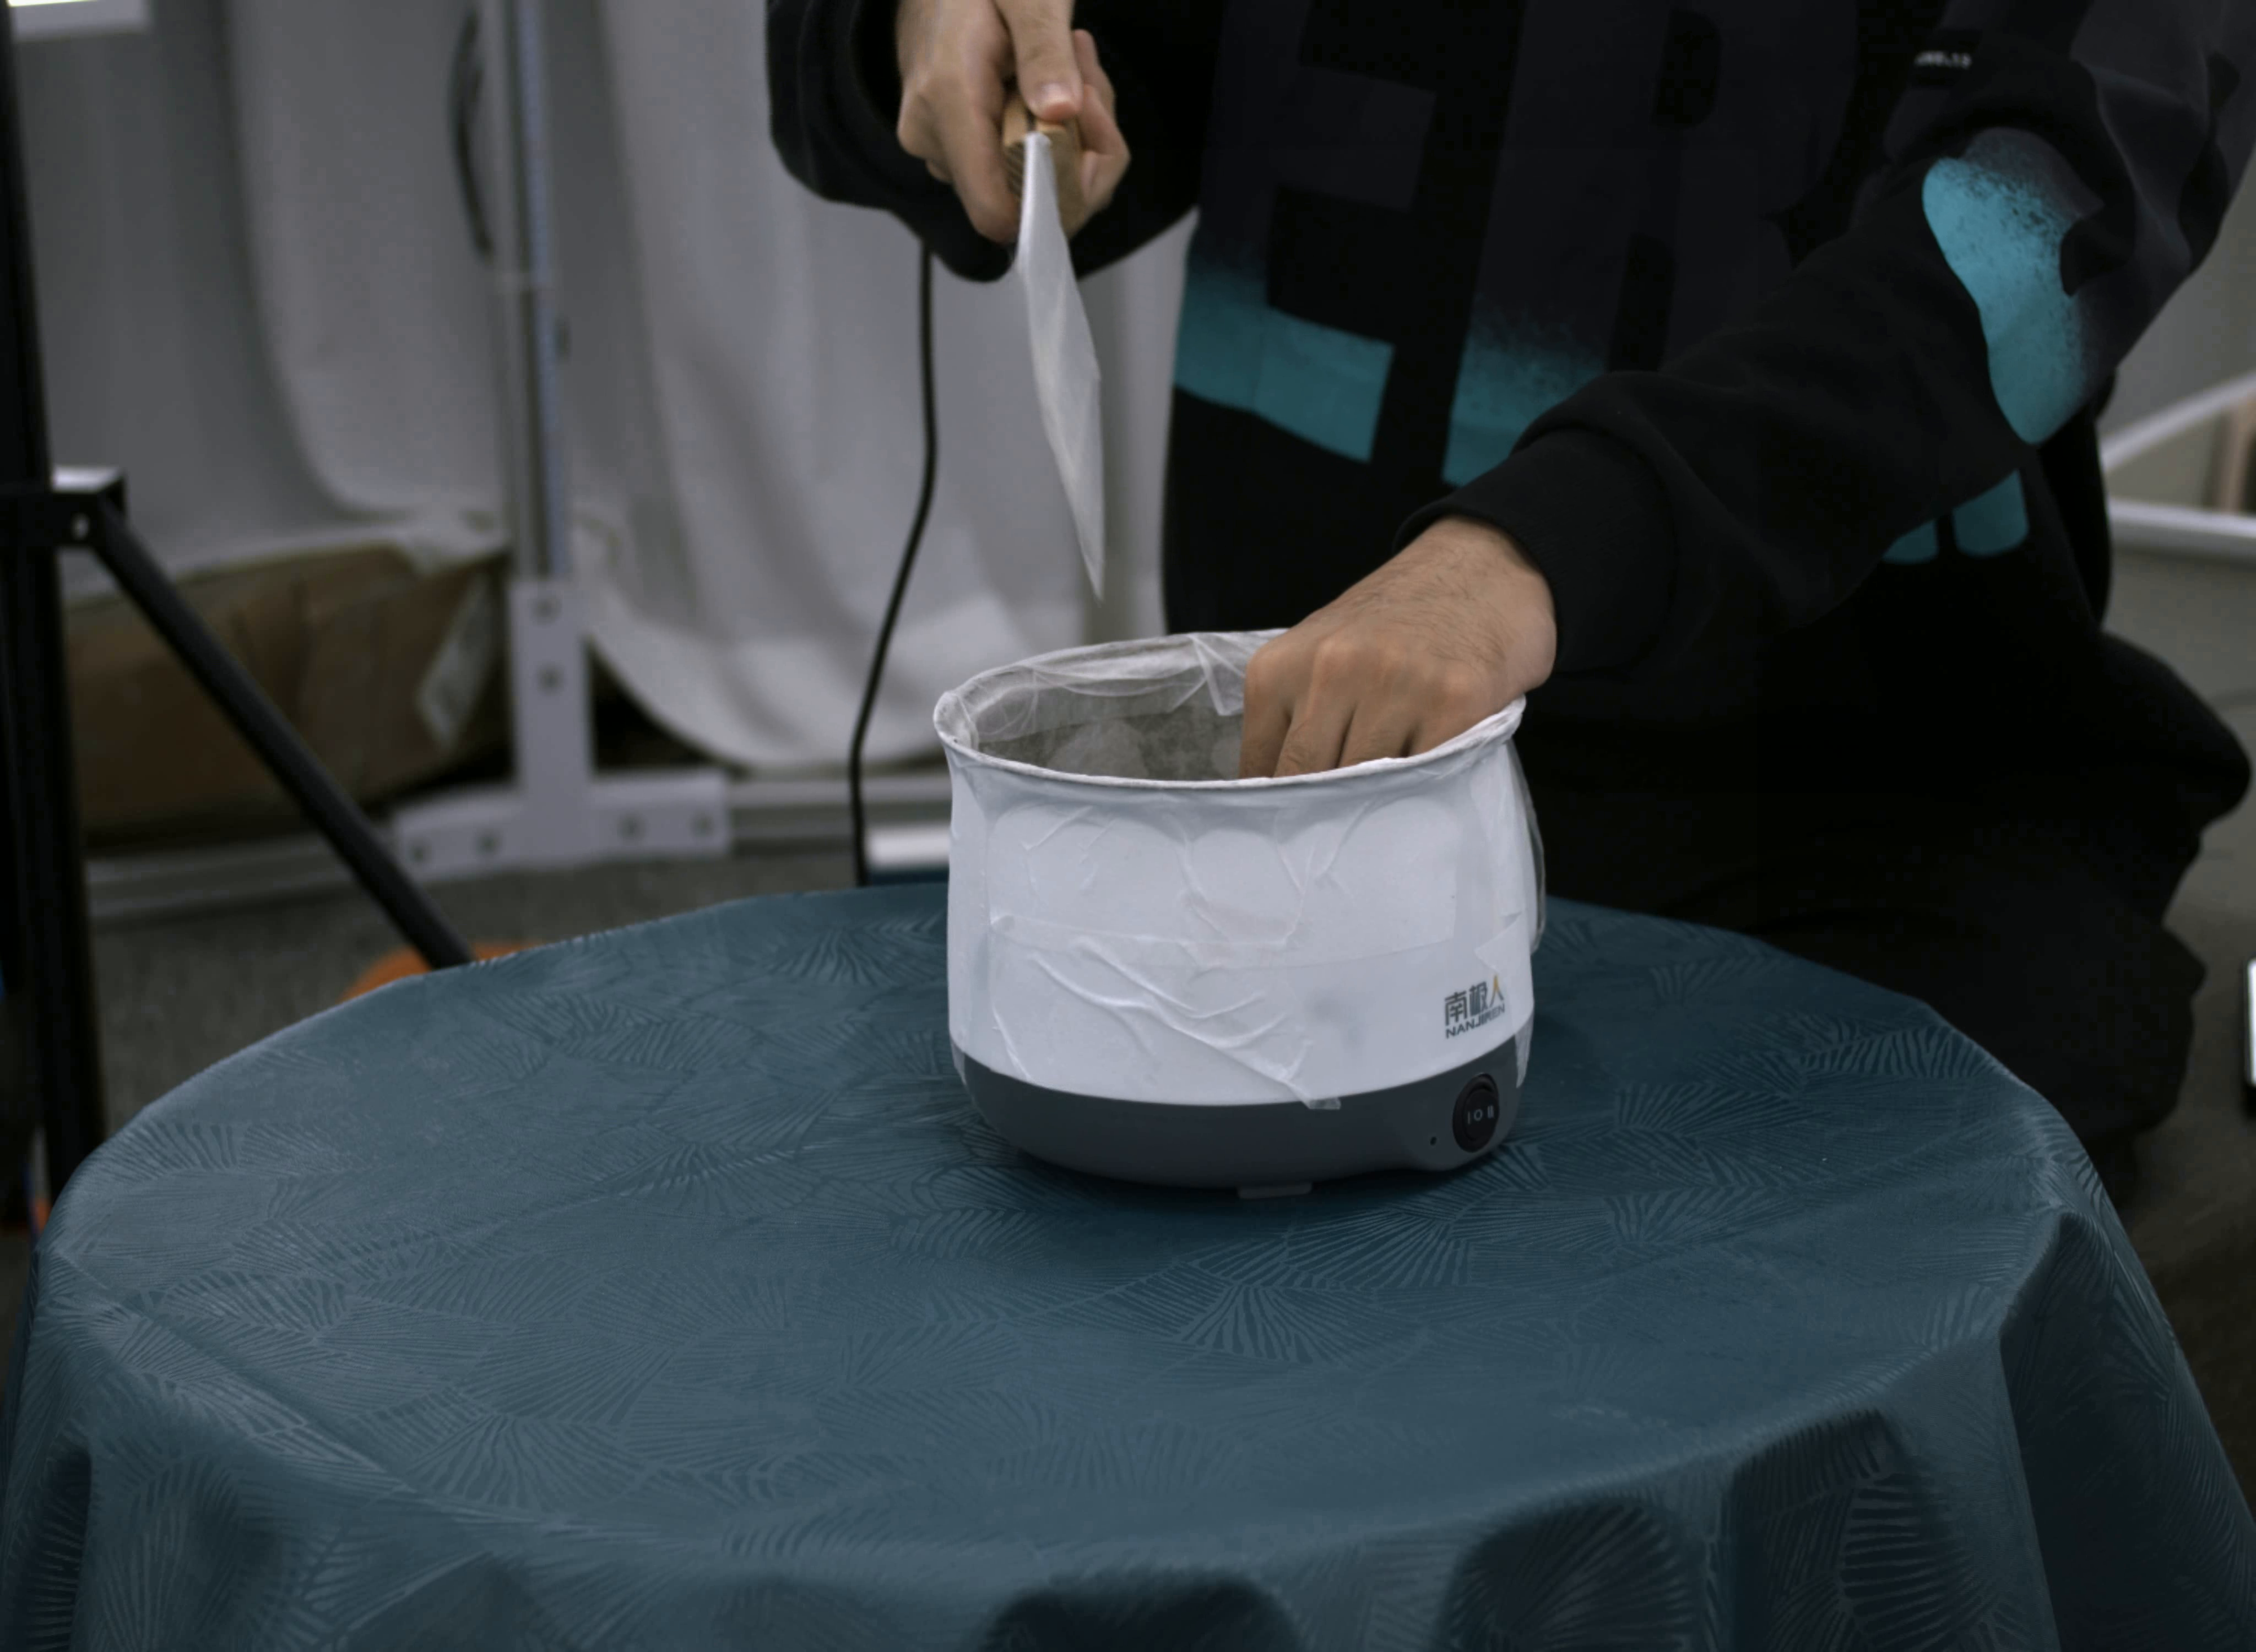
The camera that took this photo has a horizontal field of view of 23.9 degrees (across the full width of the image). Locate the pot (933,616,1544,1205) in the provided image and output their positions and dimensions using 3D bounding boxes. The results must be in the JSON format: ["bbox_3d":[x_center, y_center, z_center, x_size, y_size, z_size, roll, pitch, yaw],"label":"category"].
[{"bbox_3d":[0.049,0.018,1.615,0.182,0.136,0.229,10,21,37],"label":"pot"}]

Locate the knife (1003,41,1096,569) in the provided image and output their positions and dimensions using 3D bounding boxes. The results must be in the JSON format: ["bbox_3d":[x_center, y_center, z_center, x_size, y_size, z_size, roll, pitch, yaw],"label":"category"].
[{"bbox_3d":[-0.023,-0.179,1.660,0.022,0.113,0.318,-12,27,5],"label":"knife"}]
